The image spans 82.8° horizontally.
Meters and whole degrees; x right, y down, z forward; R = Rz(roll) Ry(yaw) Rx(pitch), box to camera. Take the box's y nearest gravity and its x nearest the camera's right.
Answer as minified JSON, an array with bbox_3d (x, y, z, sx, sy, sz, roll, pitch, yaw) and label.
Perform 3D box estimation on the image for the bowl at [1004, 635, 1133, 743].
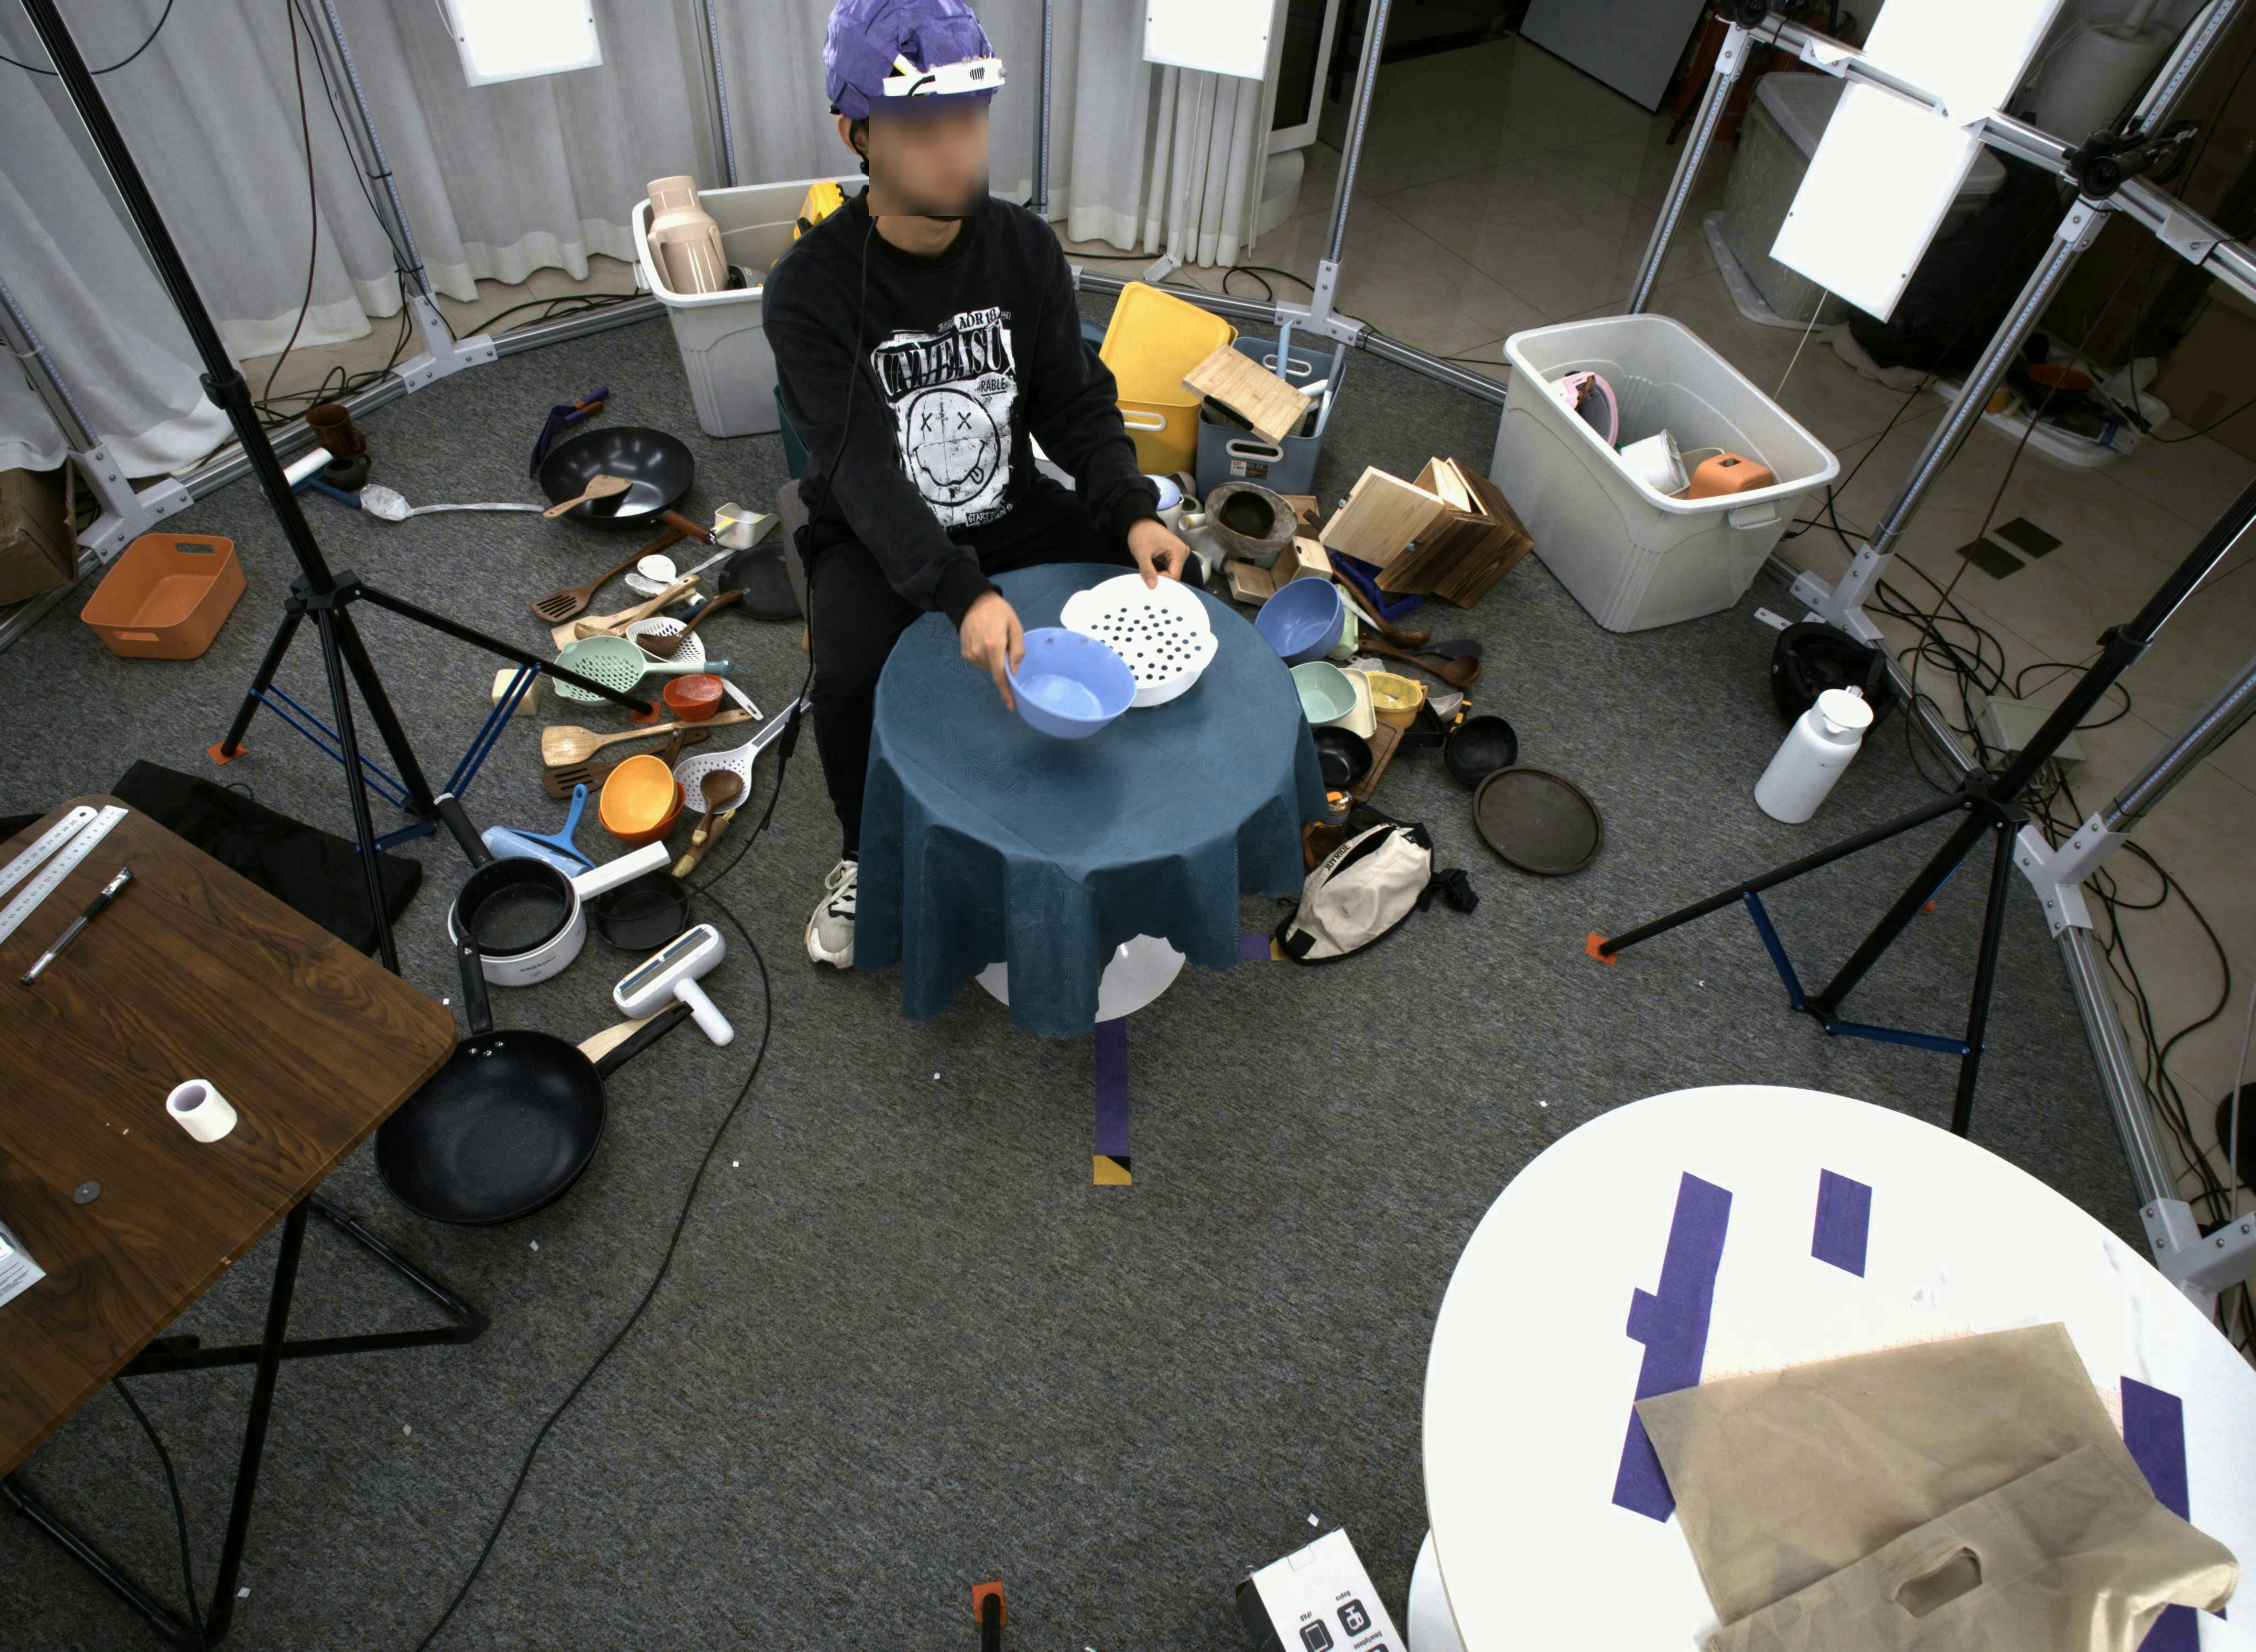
[{"bbox_3d":[-0.085,-0.172,1.696,0.175,0.069,0.180,12,44,-12],"label":"bowl"}]

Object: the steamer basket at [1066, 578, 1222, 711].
[{"bbox_3d":[0.022,-0.261,1.850,0.232,0.068,0.205,21,62,13],"label":"steamer basket"}]
